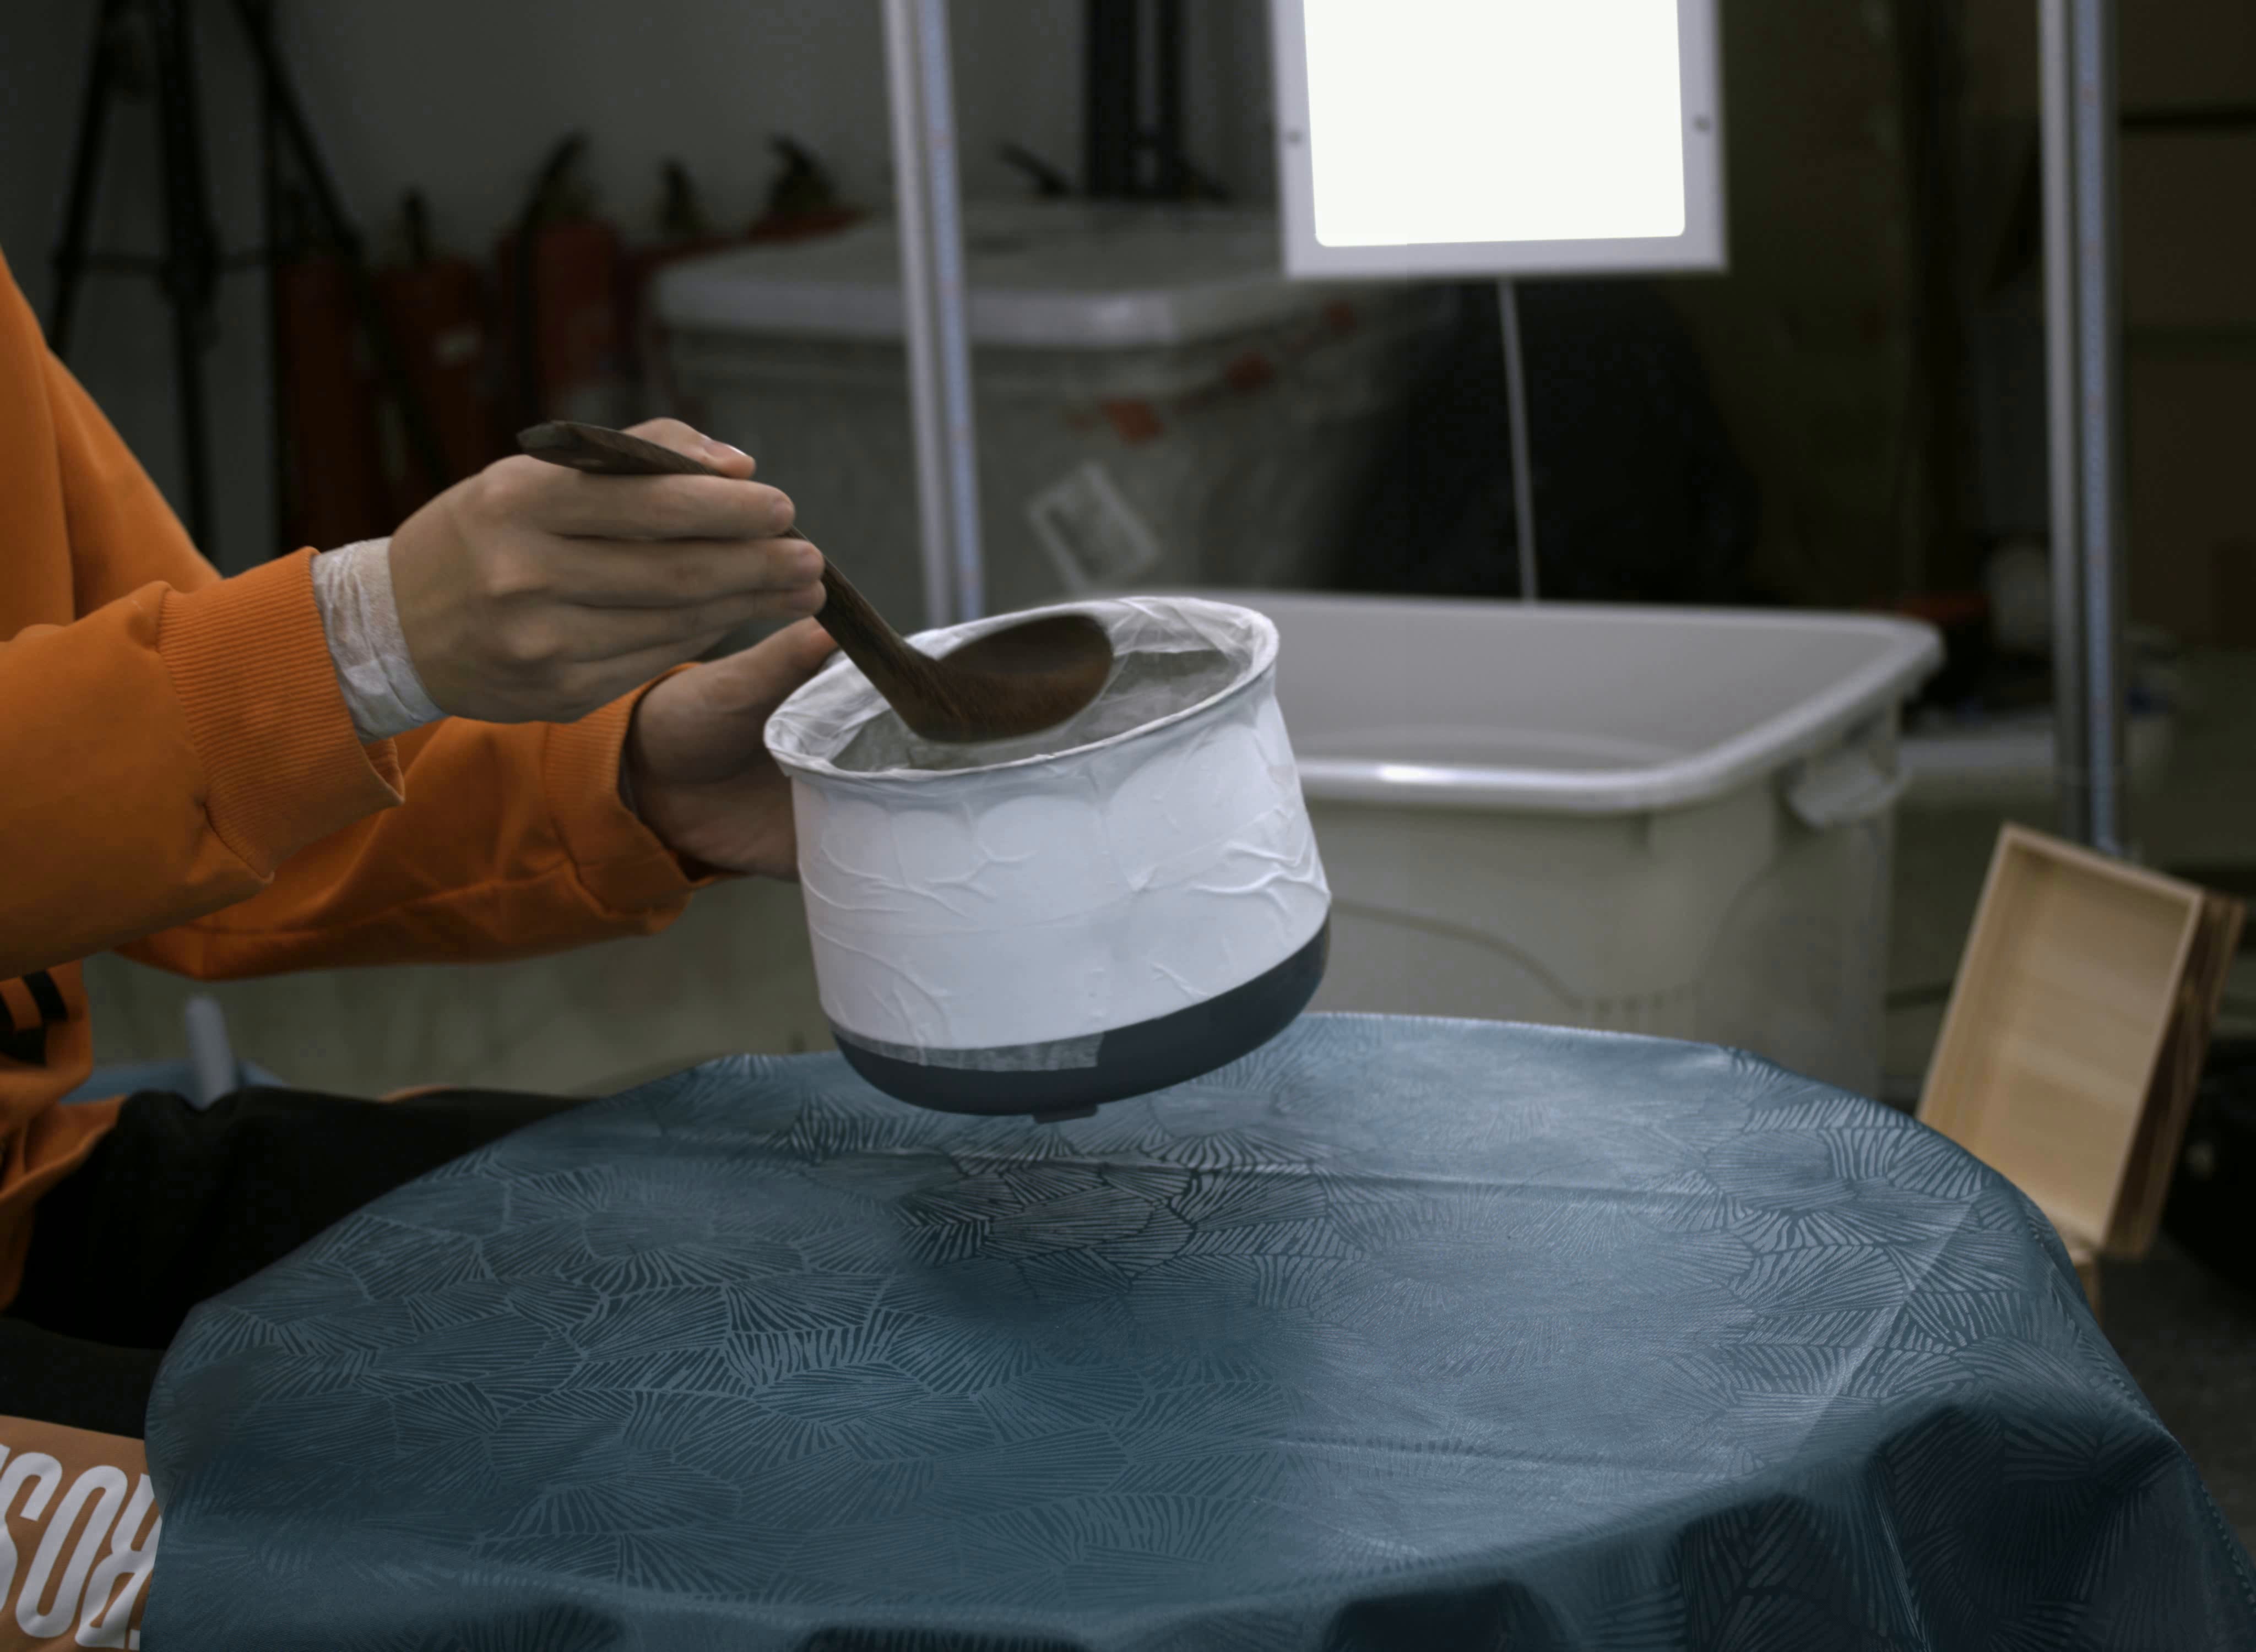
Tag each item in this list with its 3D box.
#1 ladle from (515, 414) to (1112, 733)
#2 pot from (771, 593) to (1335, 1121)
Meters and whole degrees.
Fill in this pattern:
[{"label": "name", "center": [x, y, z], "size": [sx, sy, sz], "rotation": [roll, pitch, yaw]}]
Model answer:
[{"label": "ladle", "center": [-0.099, -0.097, 1.755], "size": [0.077, 0.071, 0.269], "rotation": [-10, -28, 33]}, {"label": "pot", "center": [-0.040, 0.006, 1.886], "size": [0.174, 0.137, 0.238], "rotation": [-23, 21, -33]}]
